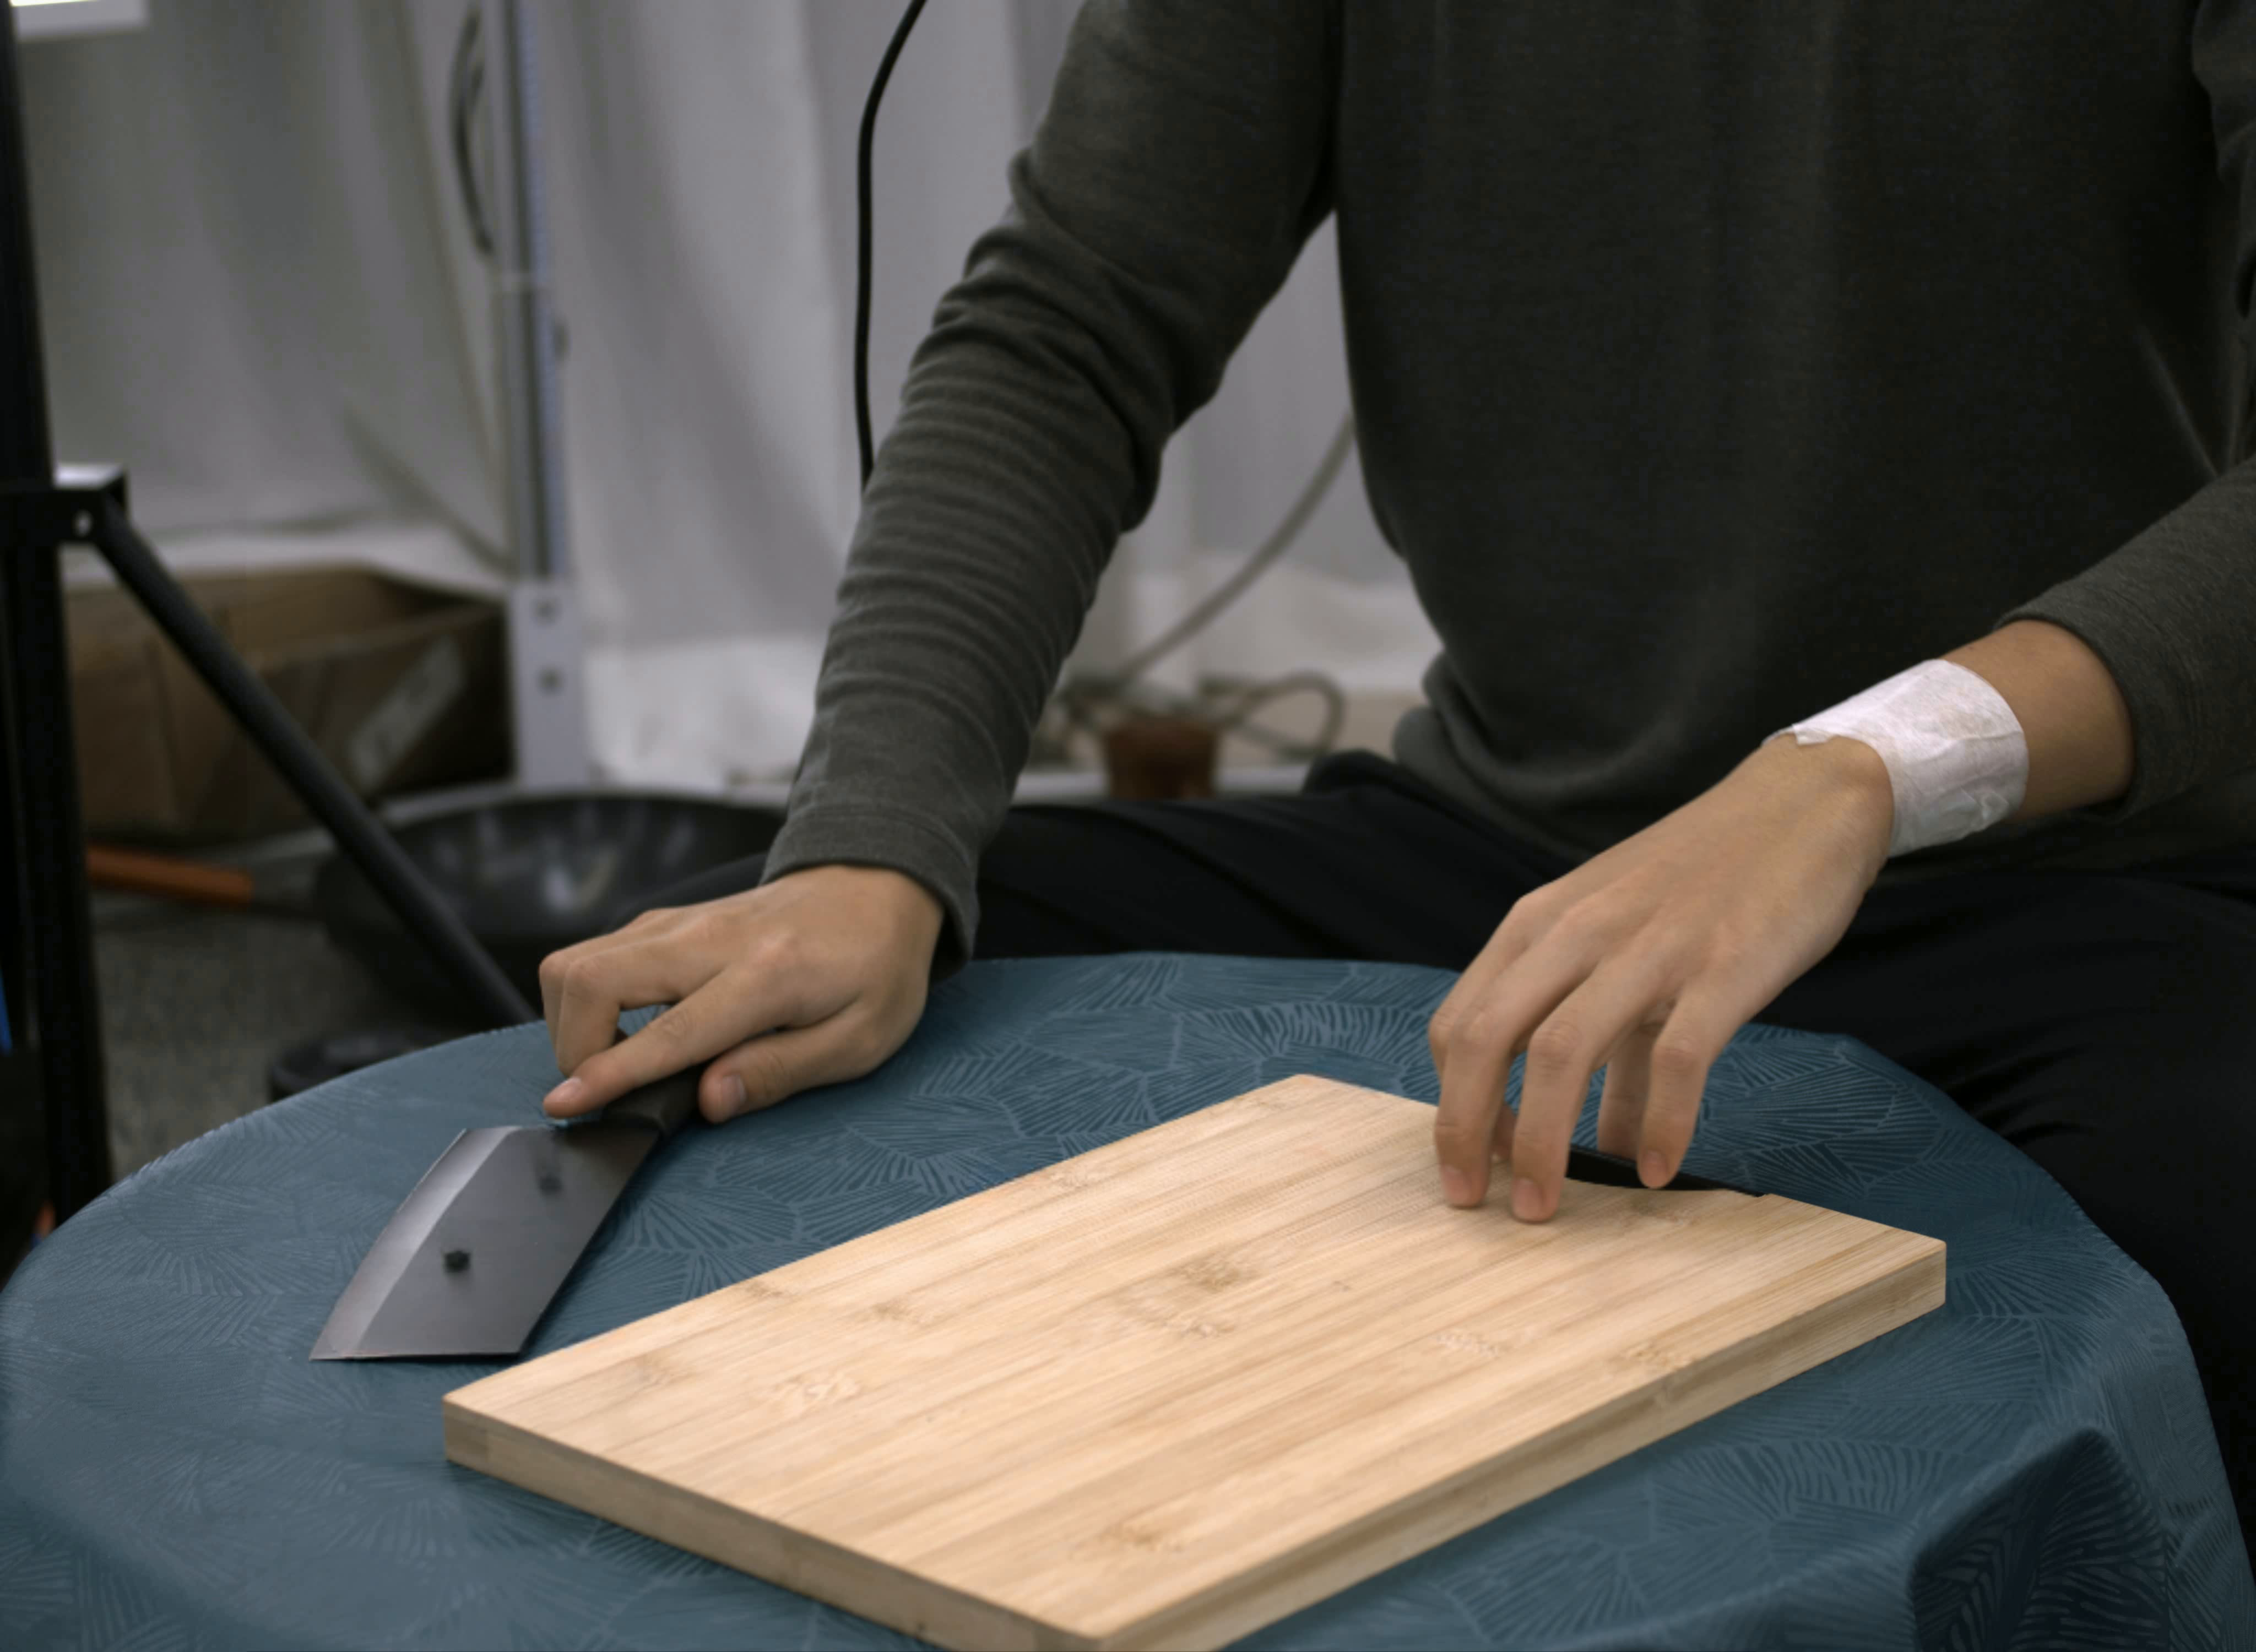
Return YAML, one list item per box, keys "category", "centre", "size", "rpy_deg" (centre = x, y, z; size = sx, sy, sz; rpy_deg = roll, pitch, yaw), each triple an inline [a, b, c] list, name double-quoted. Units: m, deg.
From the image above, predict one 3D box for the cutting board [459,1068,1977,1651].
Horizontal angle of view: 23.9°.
- category: "cutting board"
  centre: [0.027, 0.139, 1.417]
  size: [0.256, 0.023, 0.341]
  rpy_deg: [13, 22, 42]

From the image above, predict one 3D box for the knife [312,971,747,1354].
- category: "knife"
  centre: [-0.171, 0.100, 1.594]
  size: [0.081, 0.021, 0.300]
  rpy_deg: [-2, 17, 14]
